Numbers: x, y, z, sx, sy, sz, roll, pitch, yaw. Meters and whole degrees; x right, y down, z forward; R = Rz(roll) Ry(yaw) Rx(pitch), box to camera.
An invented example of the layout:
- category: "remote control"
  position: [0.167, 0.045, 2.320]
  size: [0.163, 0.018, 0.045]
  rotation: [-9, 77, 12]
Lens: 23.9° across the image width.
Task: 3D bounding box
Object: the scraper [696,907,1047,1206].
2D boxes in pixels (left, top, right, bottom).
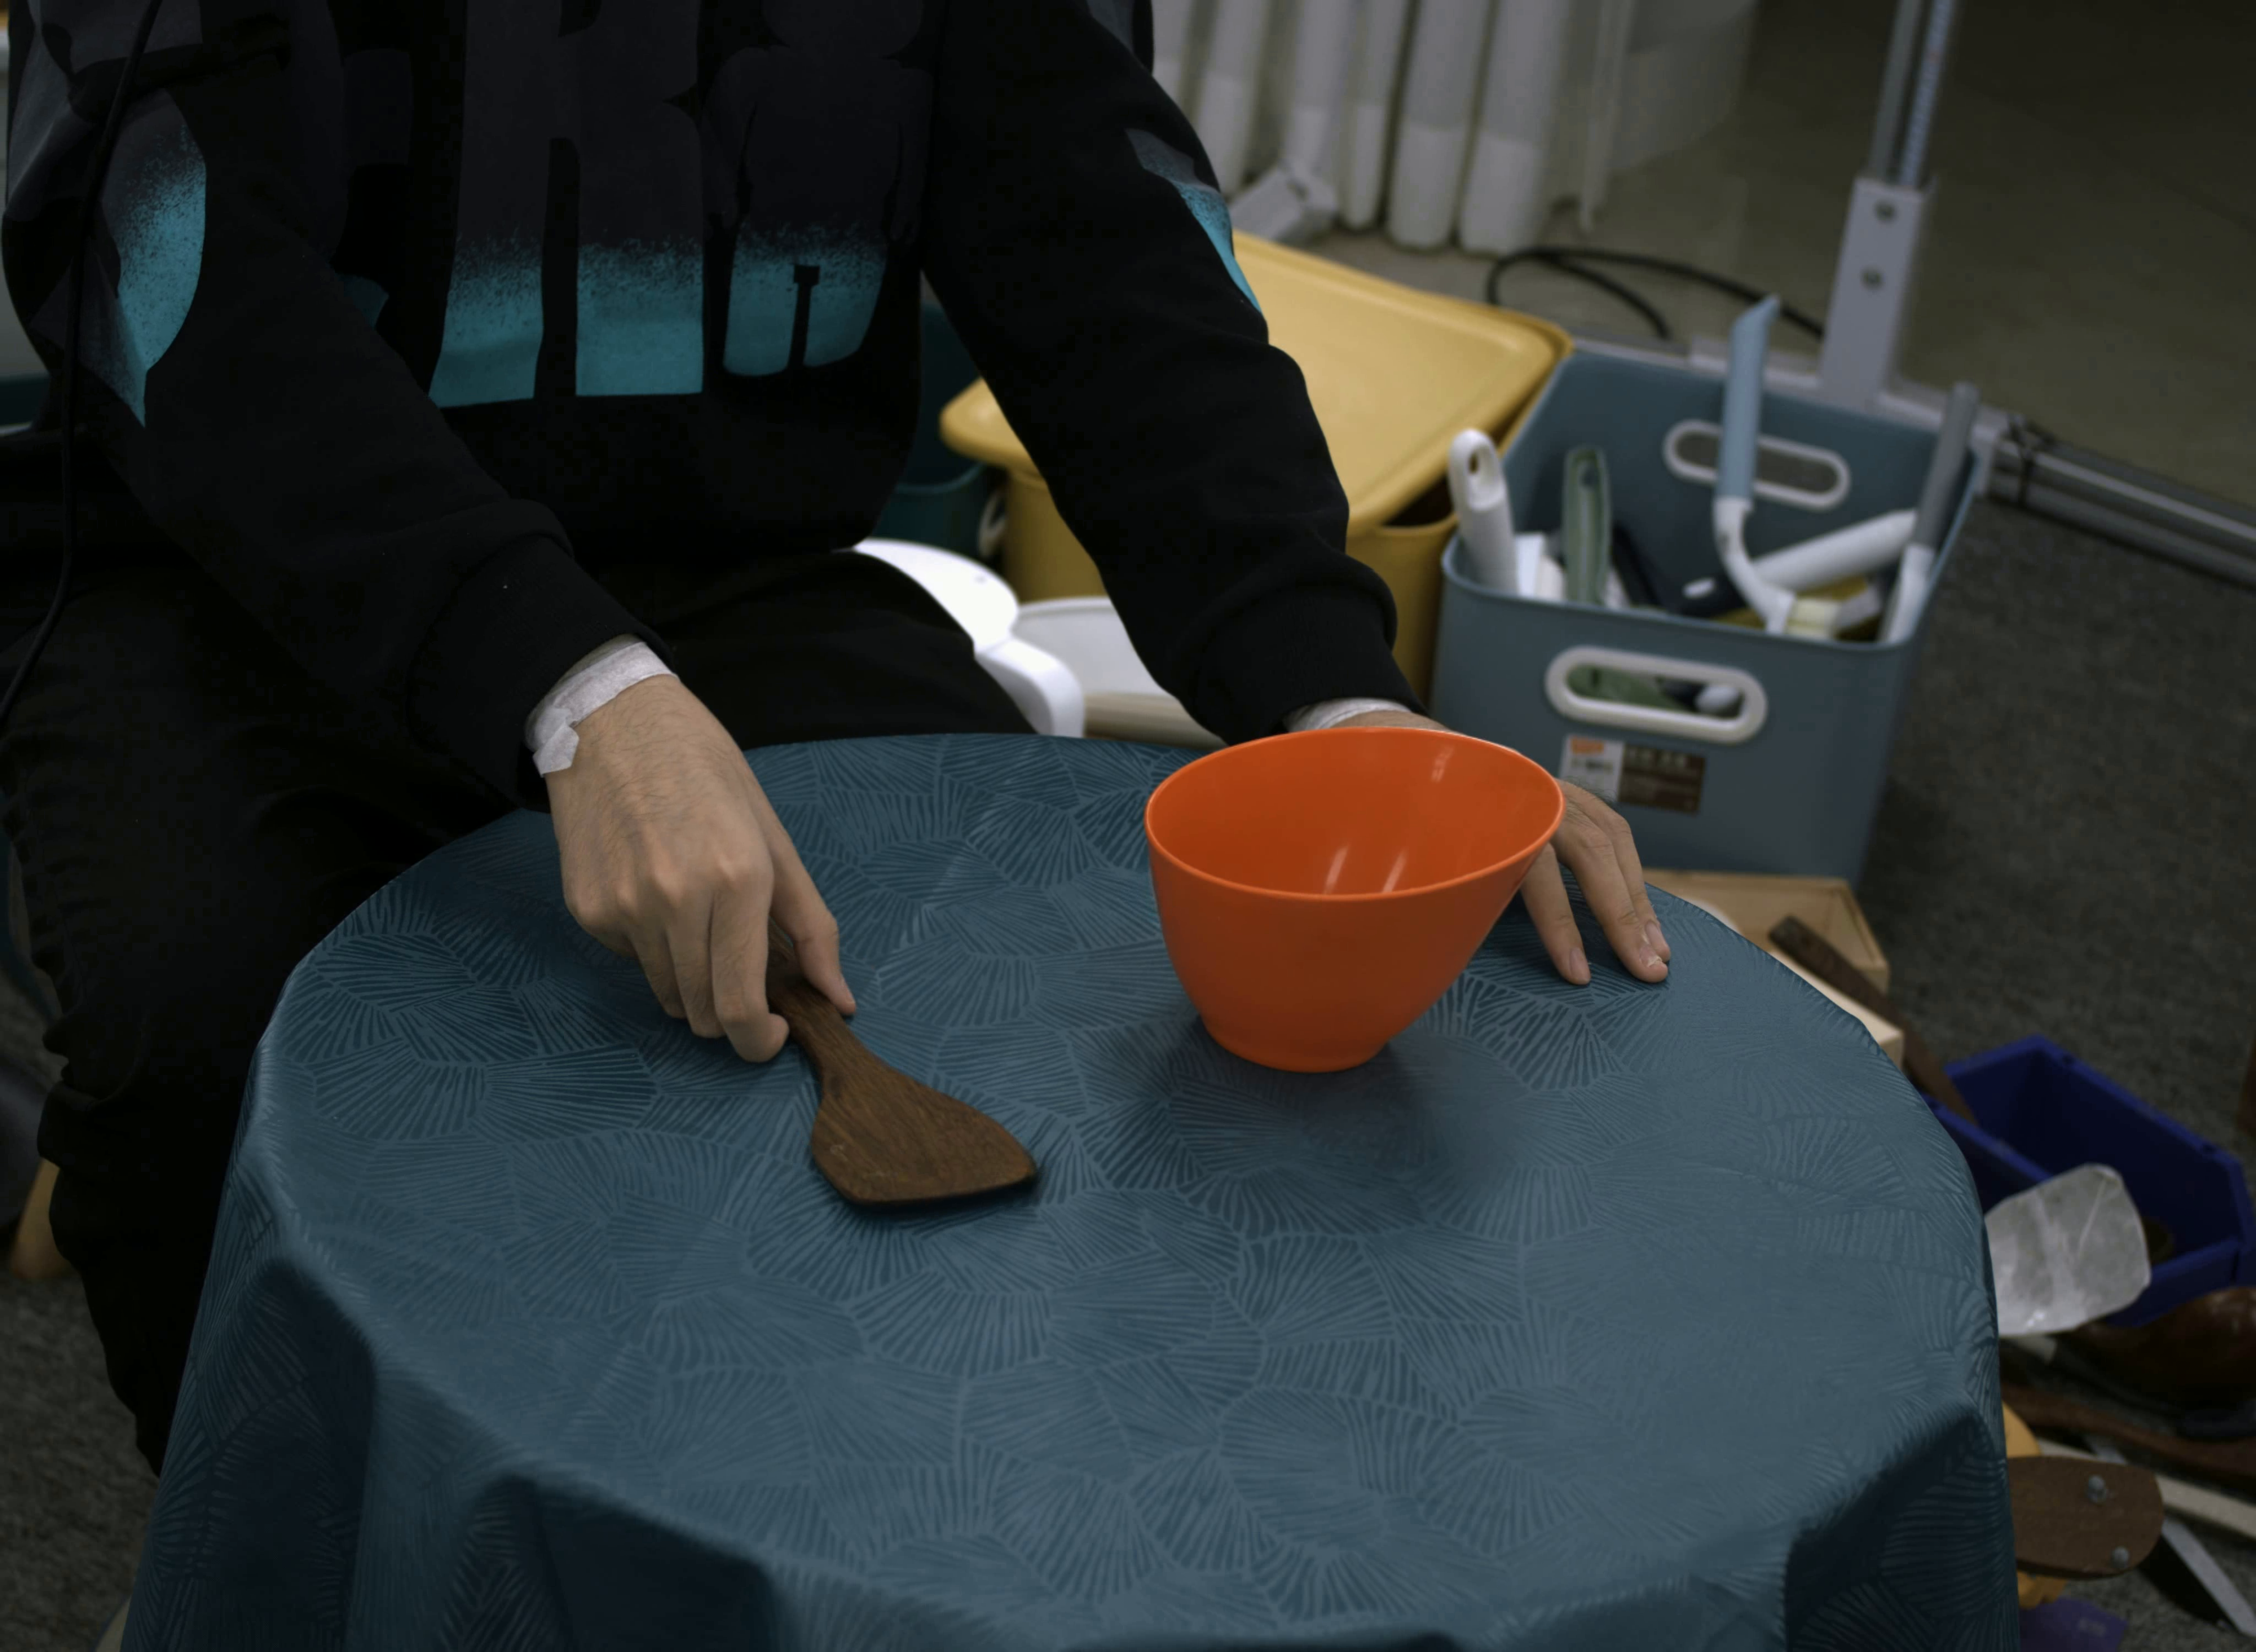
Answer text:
- category: "scraper"
  position: [-0.101, 0.079, 1.855]
  size: [0.075, 0.011, 0.213]
  rotation: [-6, 29, -26]

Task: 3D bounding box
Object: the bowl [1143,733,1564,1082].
- category: "bowl"
  position: [0.075, 0.033, 1.888]
  size: [0.147, 0.104, 0.149]
  rotation: [4, 26, -2]
